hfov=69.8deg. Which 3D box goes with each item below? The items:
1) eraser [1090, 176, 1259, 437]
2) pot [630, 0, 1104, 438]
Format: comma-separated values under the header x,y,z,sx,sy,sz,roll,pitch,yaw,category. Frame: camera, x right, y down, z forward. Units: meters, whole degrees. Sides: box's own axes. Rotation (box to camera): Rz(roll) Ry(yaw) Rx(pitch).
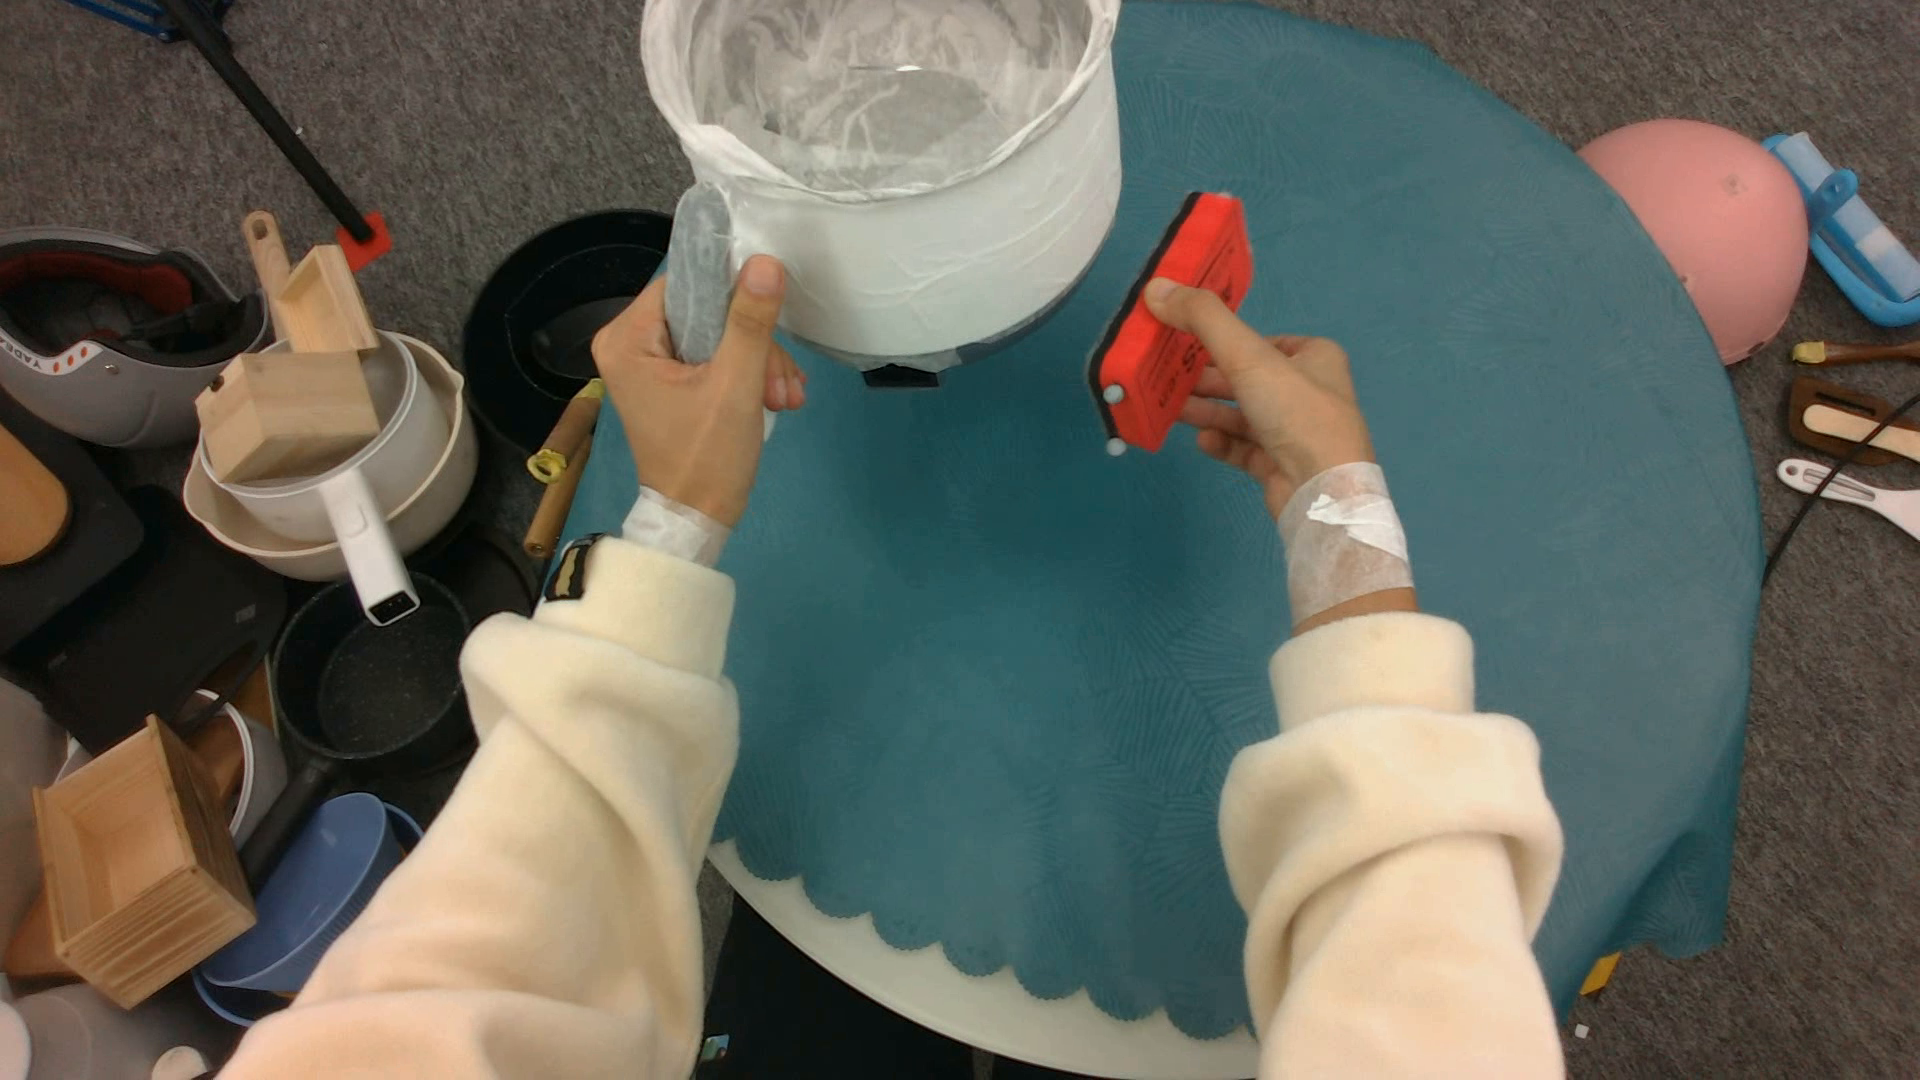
x,y,z,sx,sy,sz,roll,pitch,yaw,category
0.094,-0.101,0.594,0.023,0.059,0.108,20,68,30,eraser
-0.045,-0.153,0.557,0.178,0.136,0.234,27,69,19,pot
